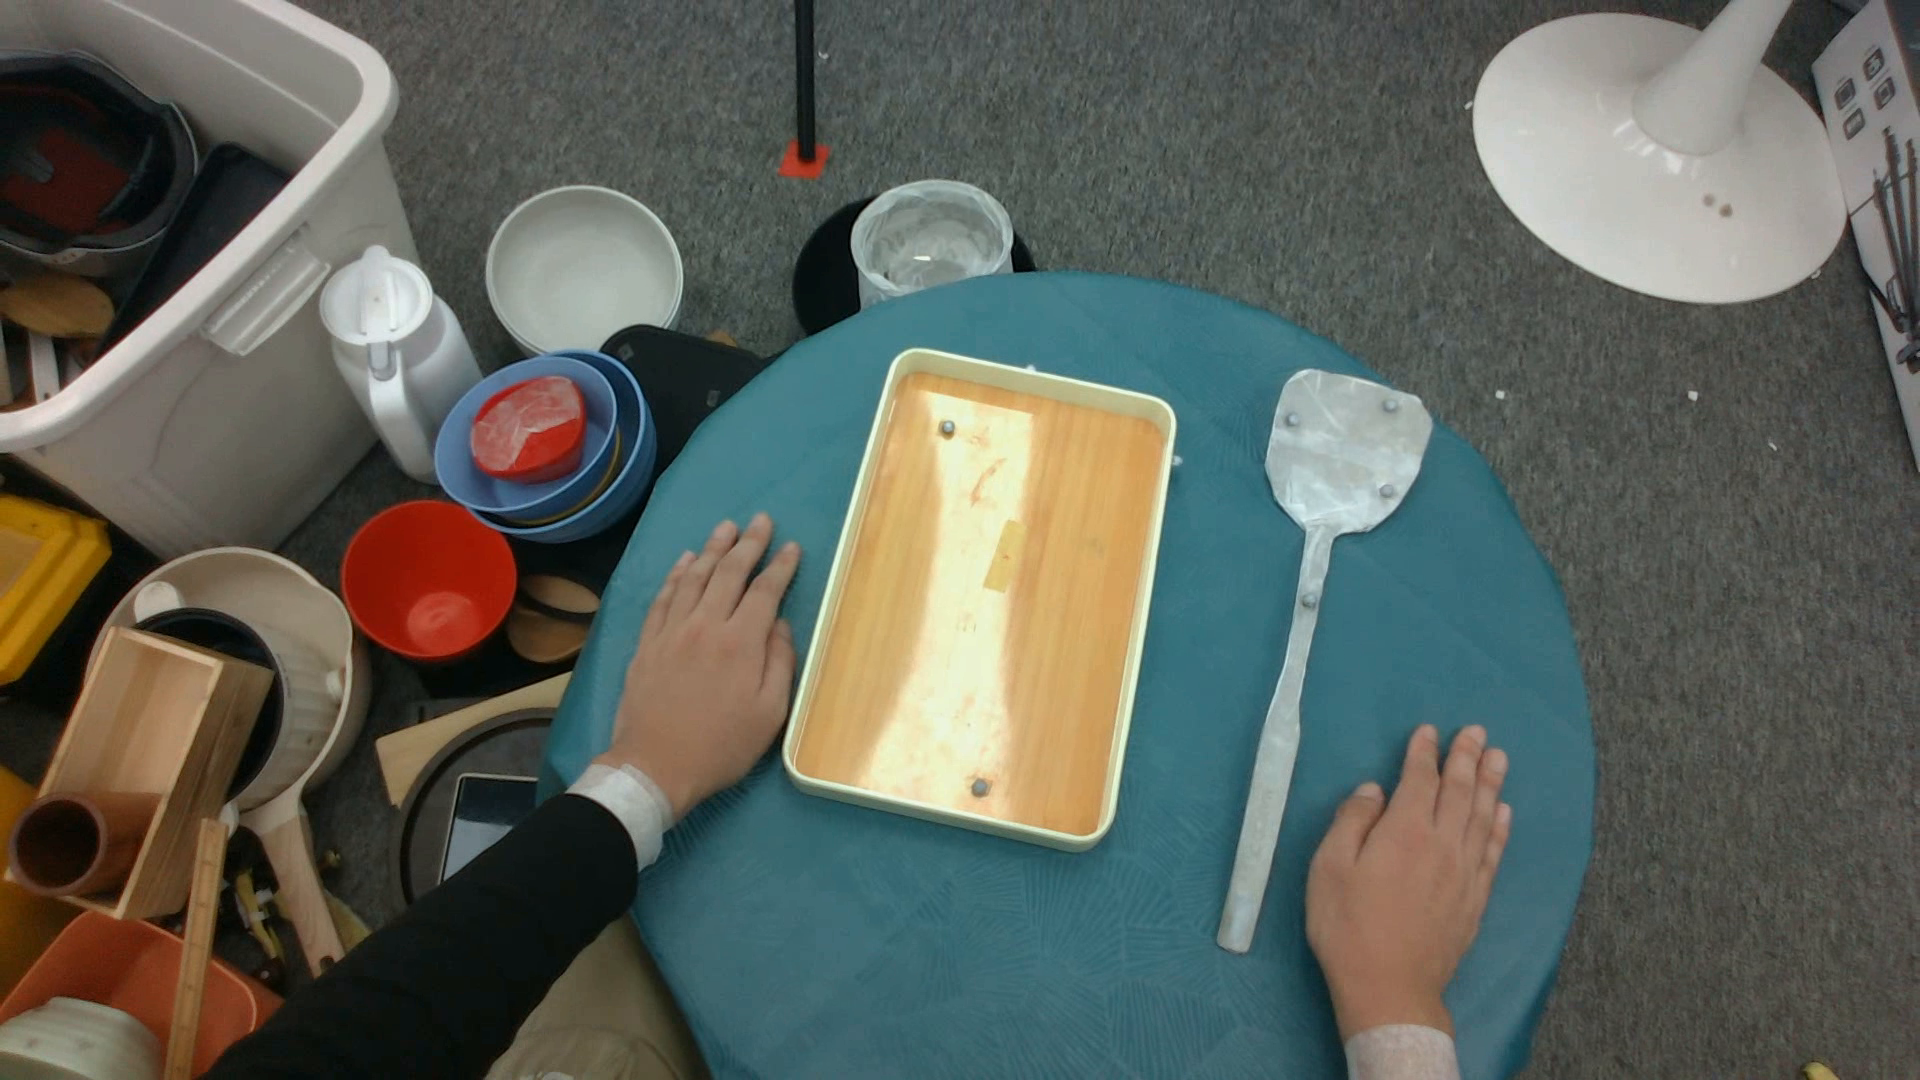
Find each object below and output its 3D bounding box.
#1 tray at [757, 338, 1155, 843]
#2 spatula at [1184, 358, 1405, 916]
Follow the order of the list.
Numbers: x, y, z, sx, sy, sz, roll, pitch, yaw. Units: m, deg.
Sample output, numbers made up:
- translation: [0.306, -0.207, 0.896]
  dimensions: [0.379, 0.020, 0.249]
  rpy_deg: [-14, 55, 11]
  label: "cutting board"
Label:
- translation: [0.005, 0.020, 0.835]
  dimensions: [0.191, 0.027, 0.301]
  rpy_deg: [13, 62, 1]
  label: "tray"
- translation: [0.191, 0.050, 0.829]
  dimensions: [0.098, 0.044, 0.366]
  rpy_deg: [18, 63, 4]
  label: "spatula"
